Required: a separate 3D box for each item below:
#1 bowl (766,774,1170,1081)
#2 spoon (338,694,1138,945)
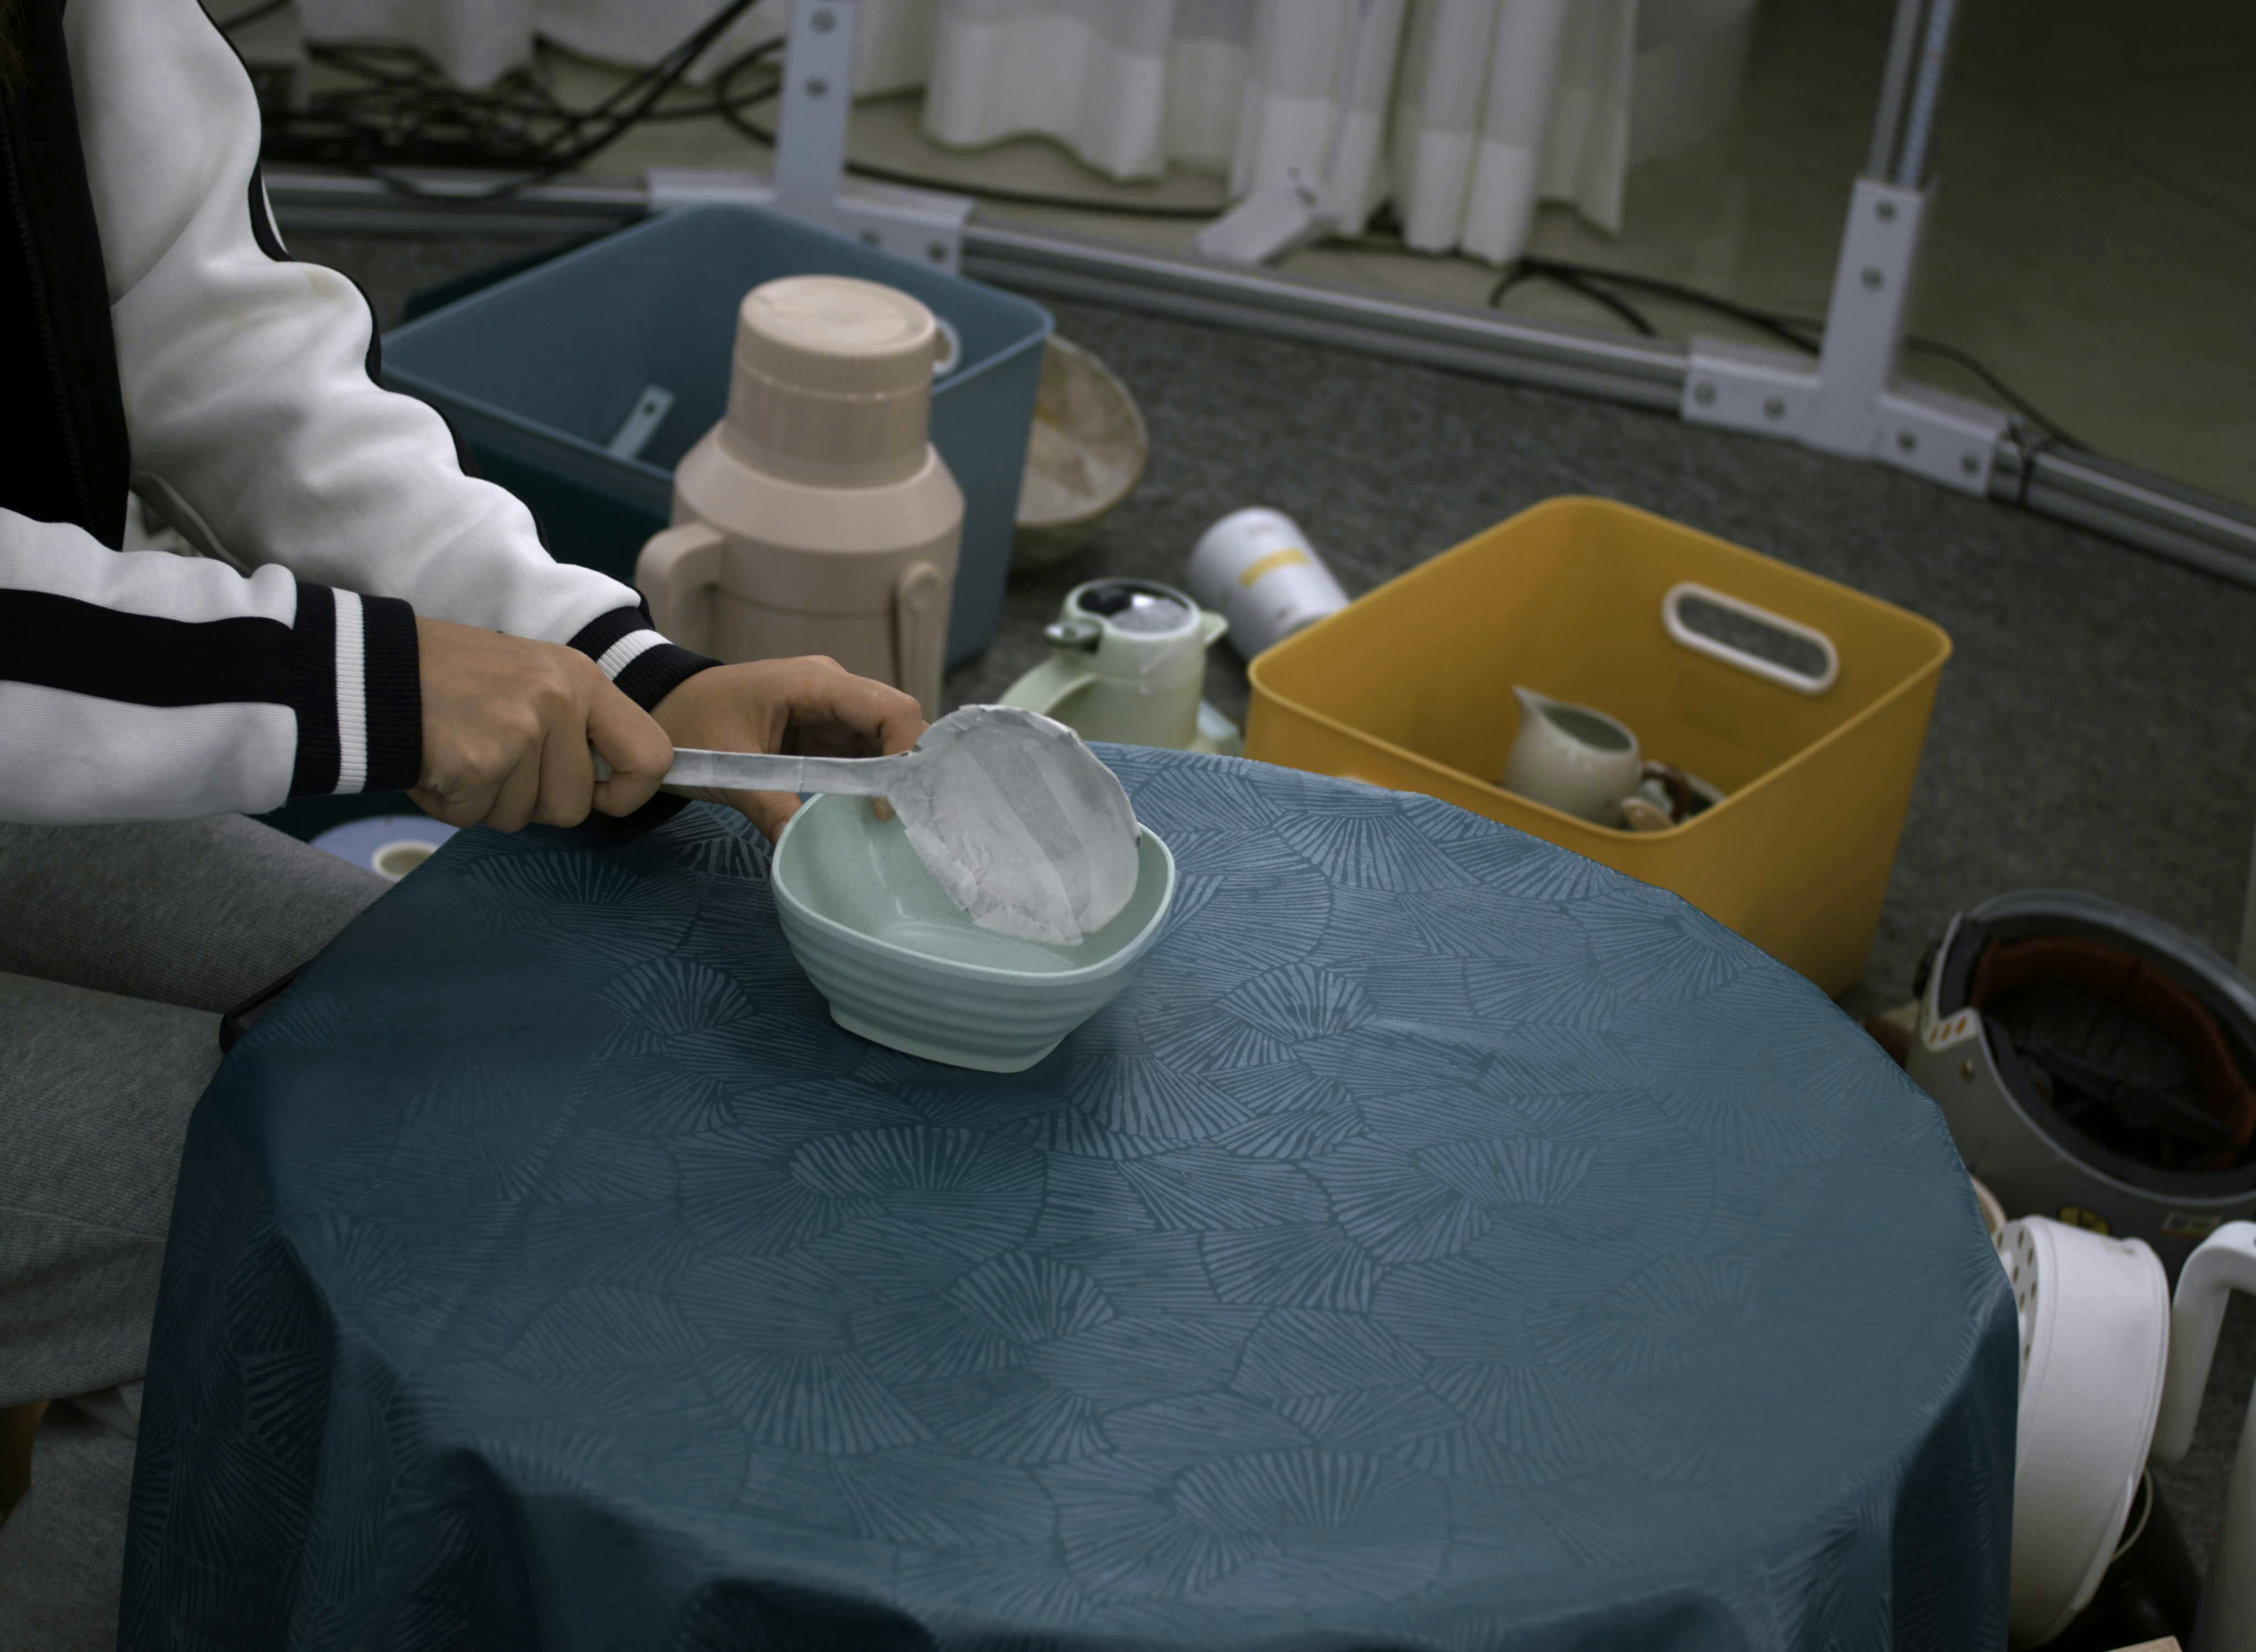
[{"bbox_3d":[-0.059,0.041,1.890,0.151,0.058,0.152,7,28,-4],"label":"bowl"},{"bbox_3d":[-0.134,-0.014,1.843,0.276,0.100,0.060,6,28,-12],"label":"spoon"}]
